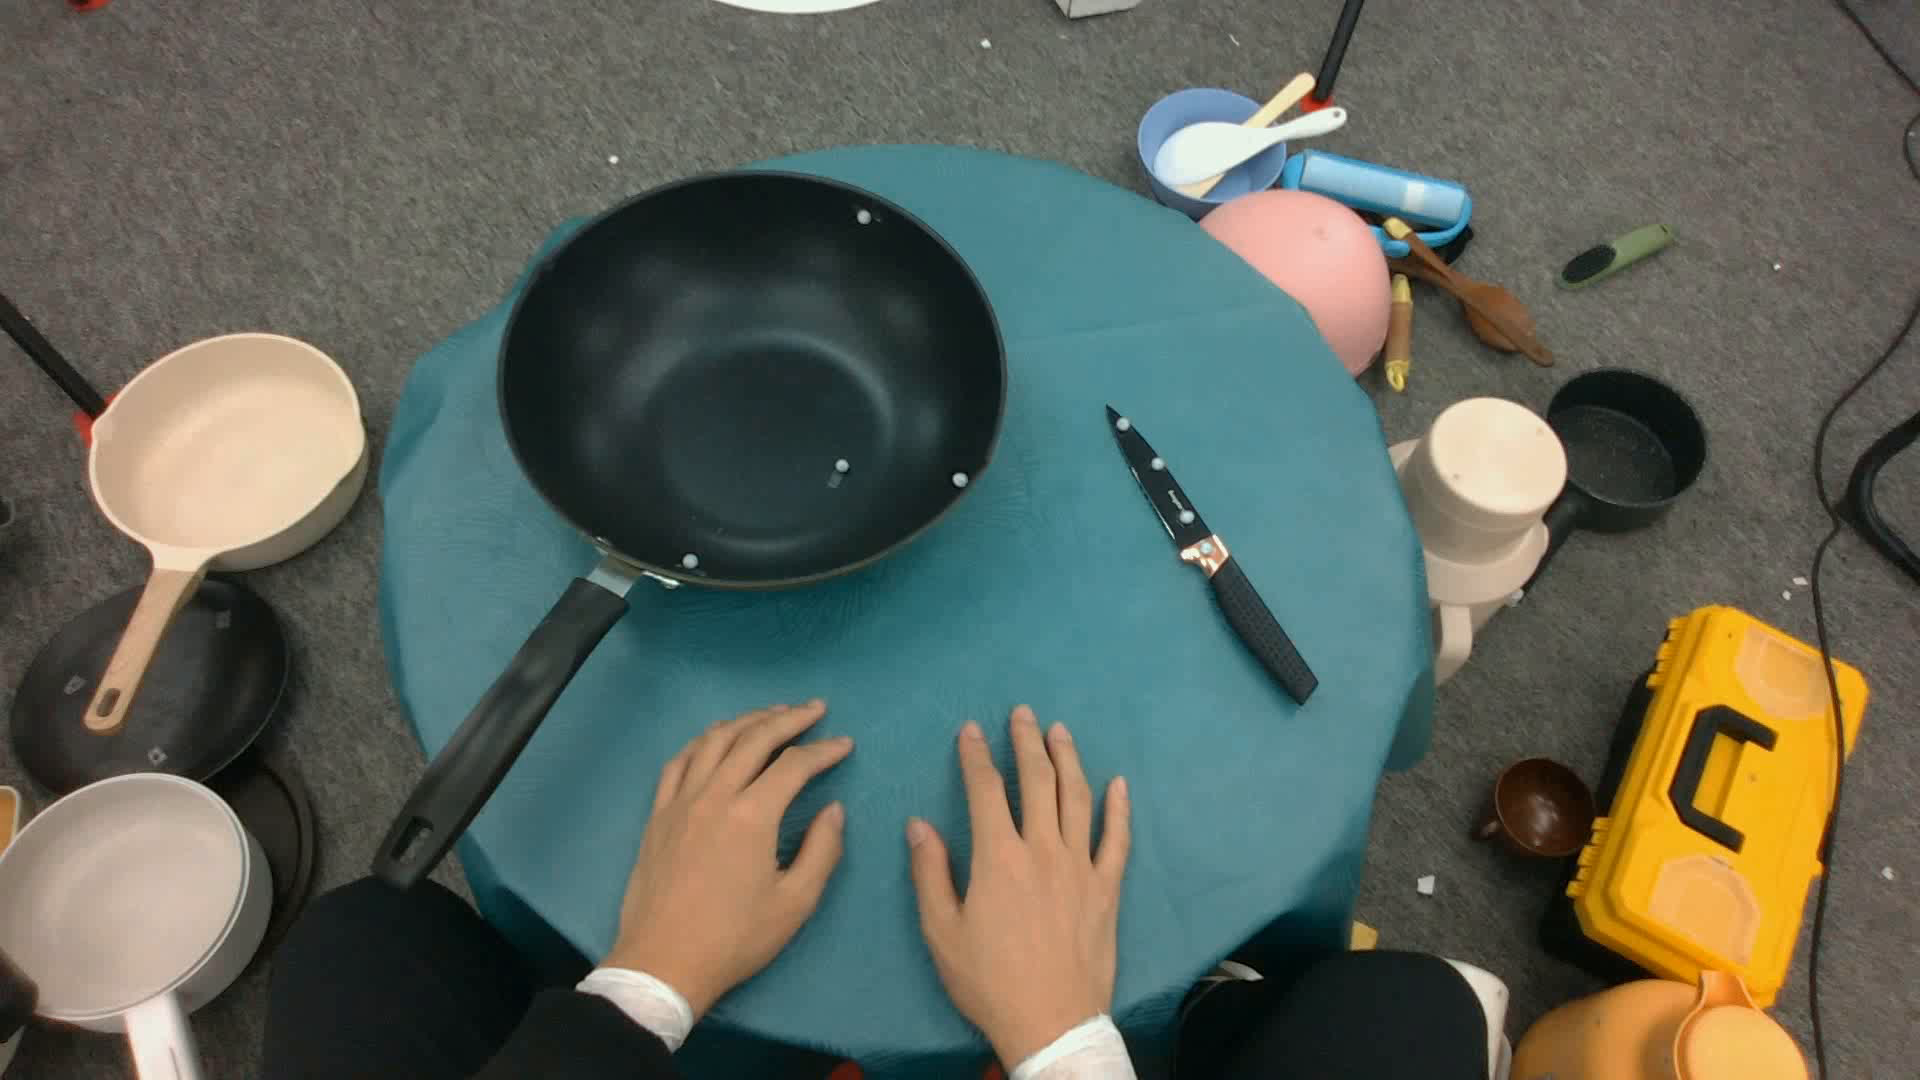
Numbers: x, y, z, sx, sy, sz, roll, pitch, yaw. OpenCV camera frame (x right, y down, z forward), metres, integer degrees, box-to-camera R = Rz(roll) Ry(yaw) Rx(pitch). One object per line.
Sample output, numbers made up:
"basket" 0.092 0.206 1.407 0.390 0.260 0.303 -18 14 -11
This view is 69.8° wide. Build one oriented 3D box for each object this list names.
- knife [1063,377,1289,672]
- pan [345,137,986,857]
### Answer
"knife" 0.125 -0.015 0.819 0.026 0.017 0.226 -30 68 -4
"pan" -0.168 -0.026 0.761 0.288 0.086 0.465 25 65 8
